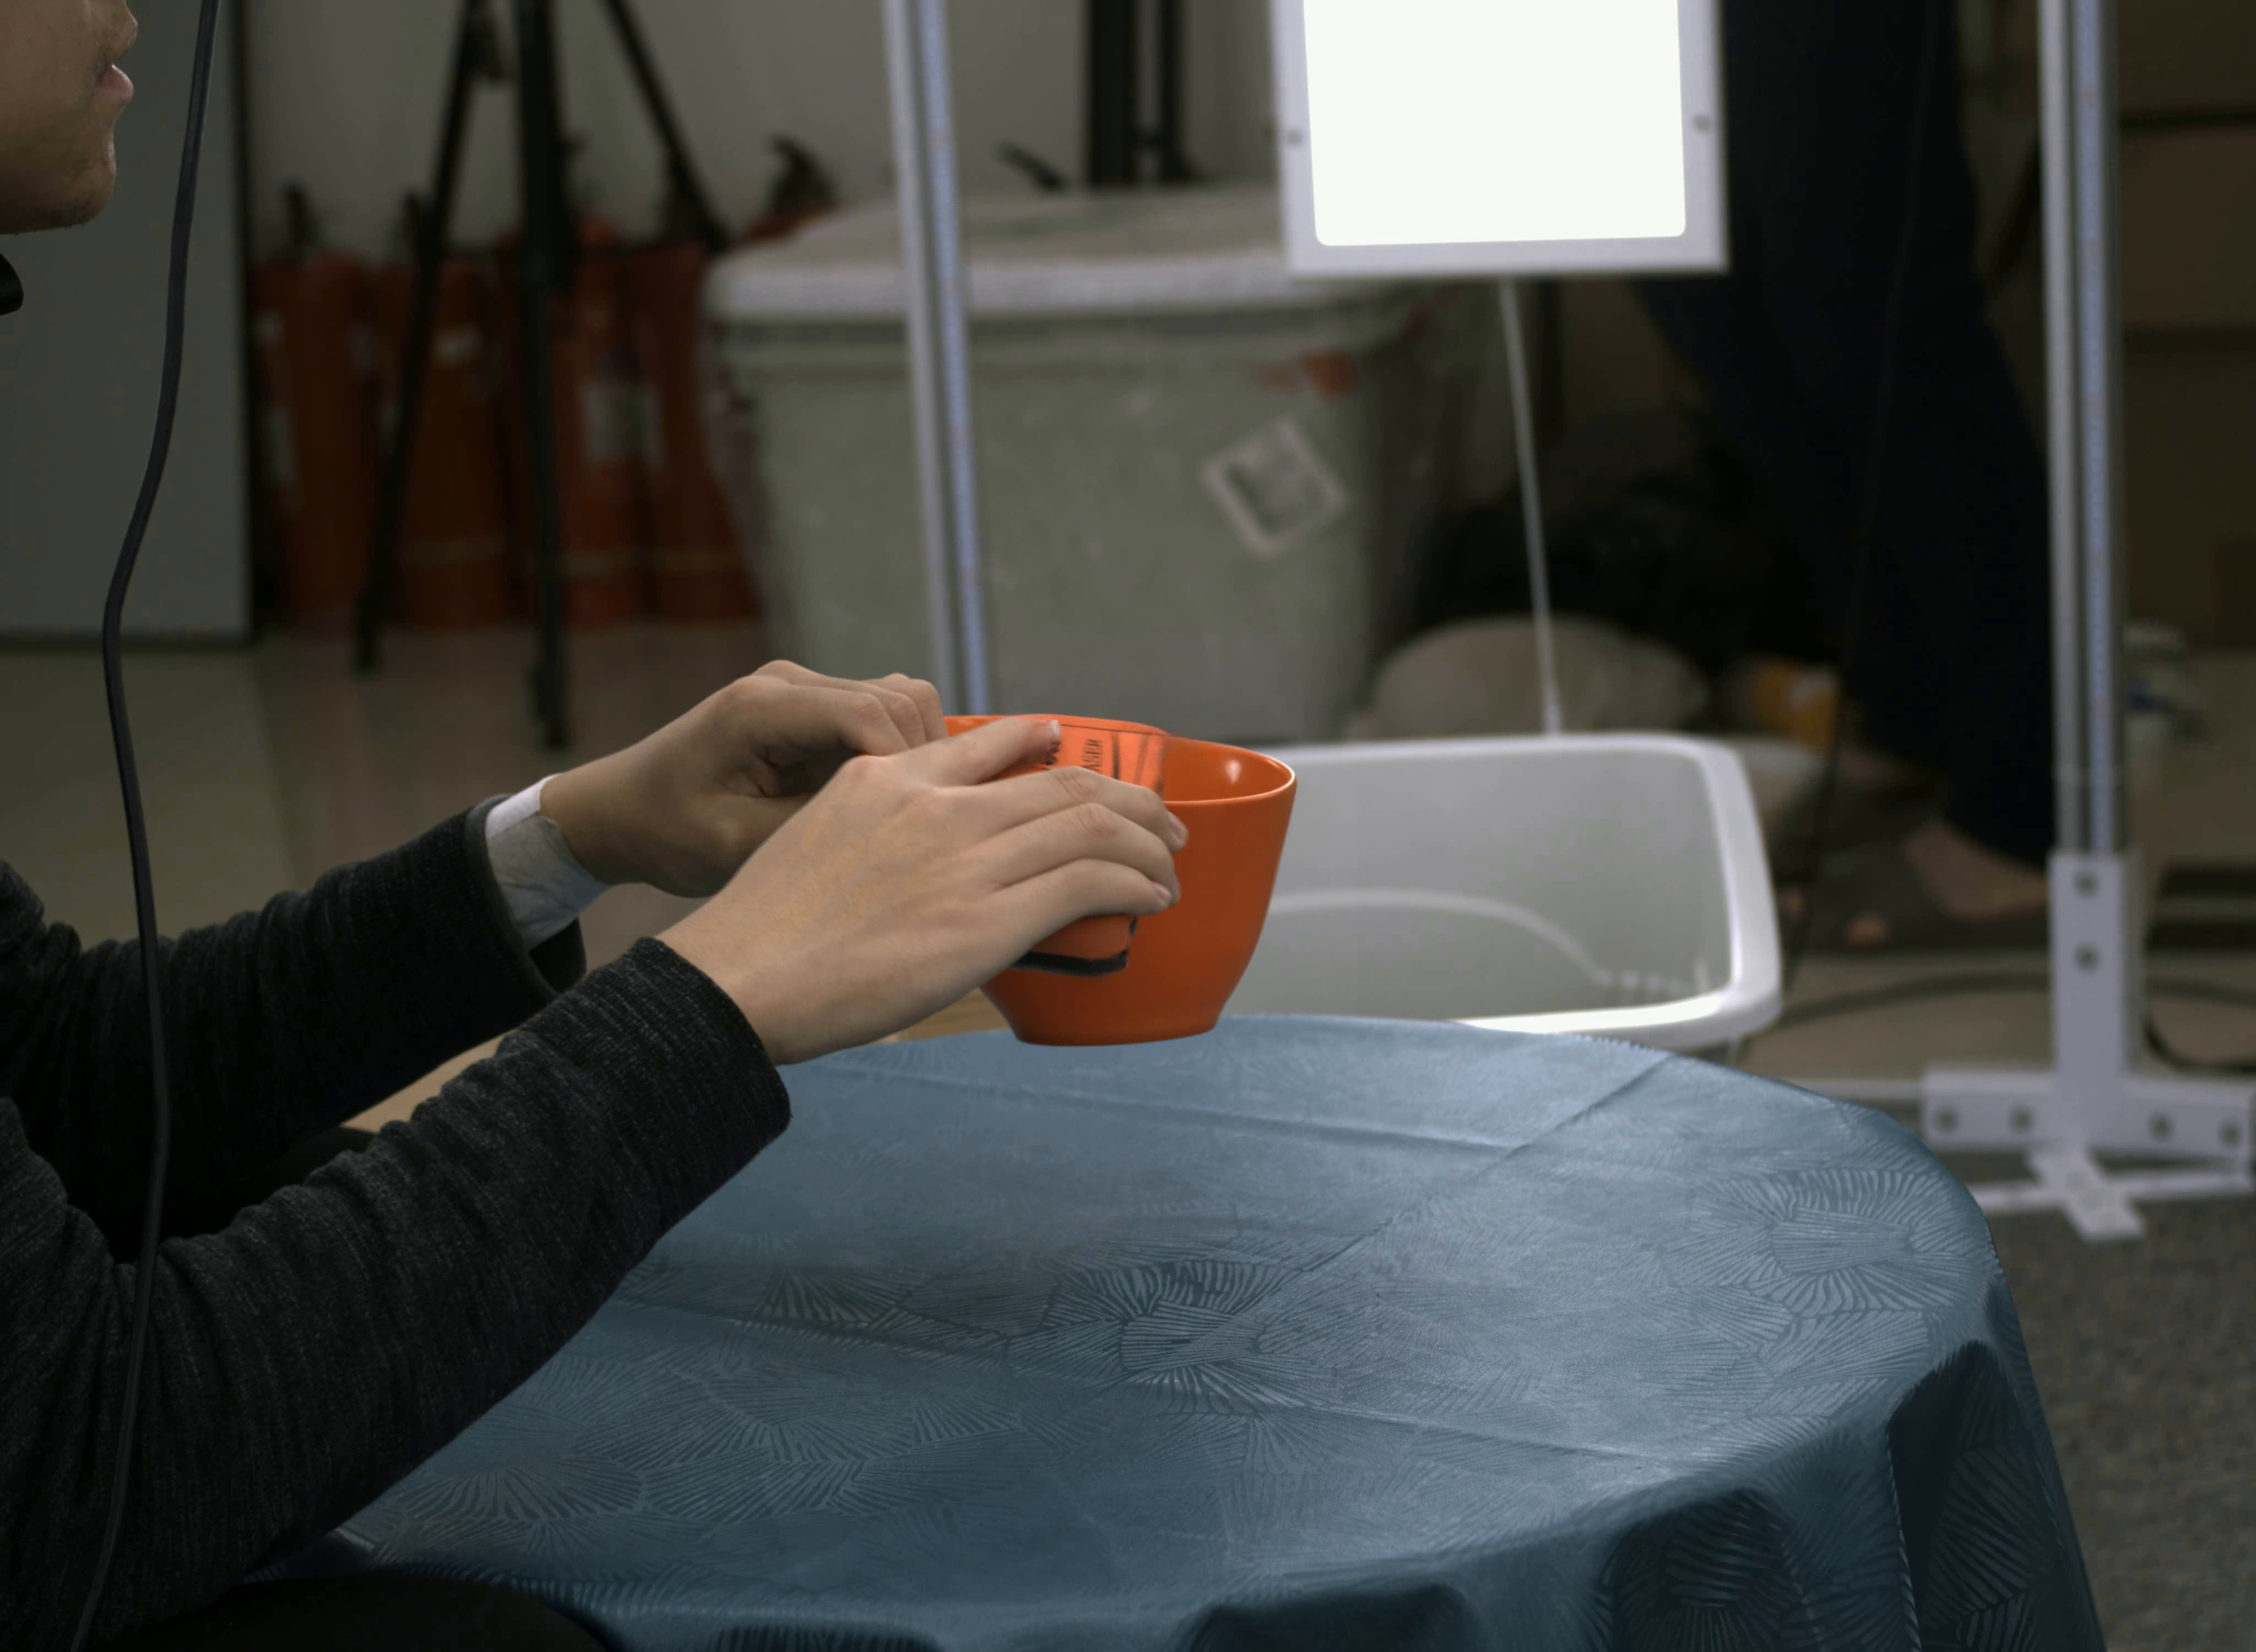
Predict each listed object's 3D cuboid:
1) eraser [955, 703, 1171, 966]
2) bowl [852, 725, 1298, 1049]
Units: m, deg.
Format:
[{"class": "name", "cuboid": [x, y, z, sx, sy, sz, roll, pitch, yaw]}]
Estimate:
[{"class": "eraser", "cuboid": [-0.019, 0.002, 1.707, 0.059, 0.023, 0.107, 6, 35, 4]}, {"class": "bowl", "cuboid": [-0.015, 0.019, 1.823, 0.147, 0.105, 0.148, -3, 3, -1]}]
